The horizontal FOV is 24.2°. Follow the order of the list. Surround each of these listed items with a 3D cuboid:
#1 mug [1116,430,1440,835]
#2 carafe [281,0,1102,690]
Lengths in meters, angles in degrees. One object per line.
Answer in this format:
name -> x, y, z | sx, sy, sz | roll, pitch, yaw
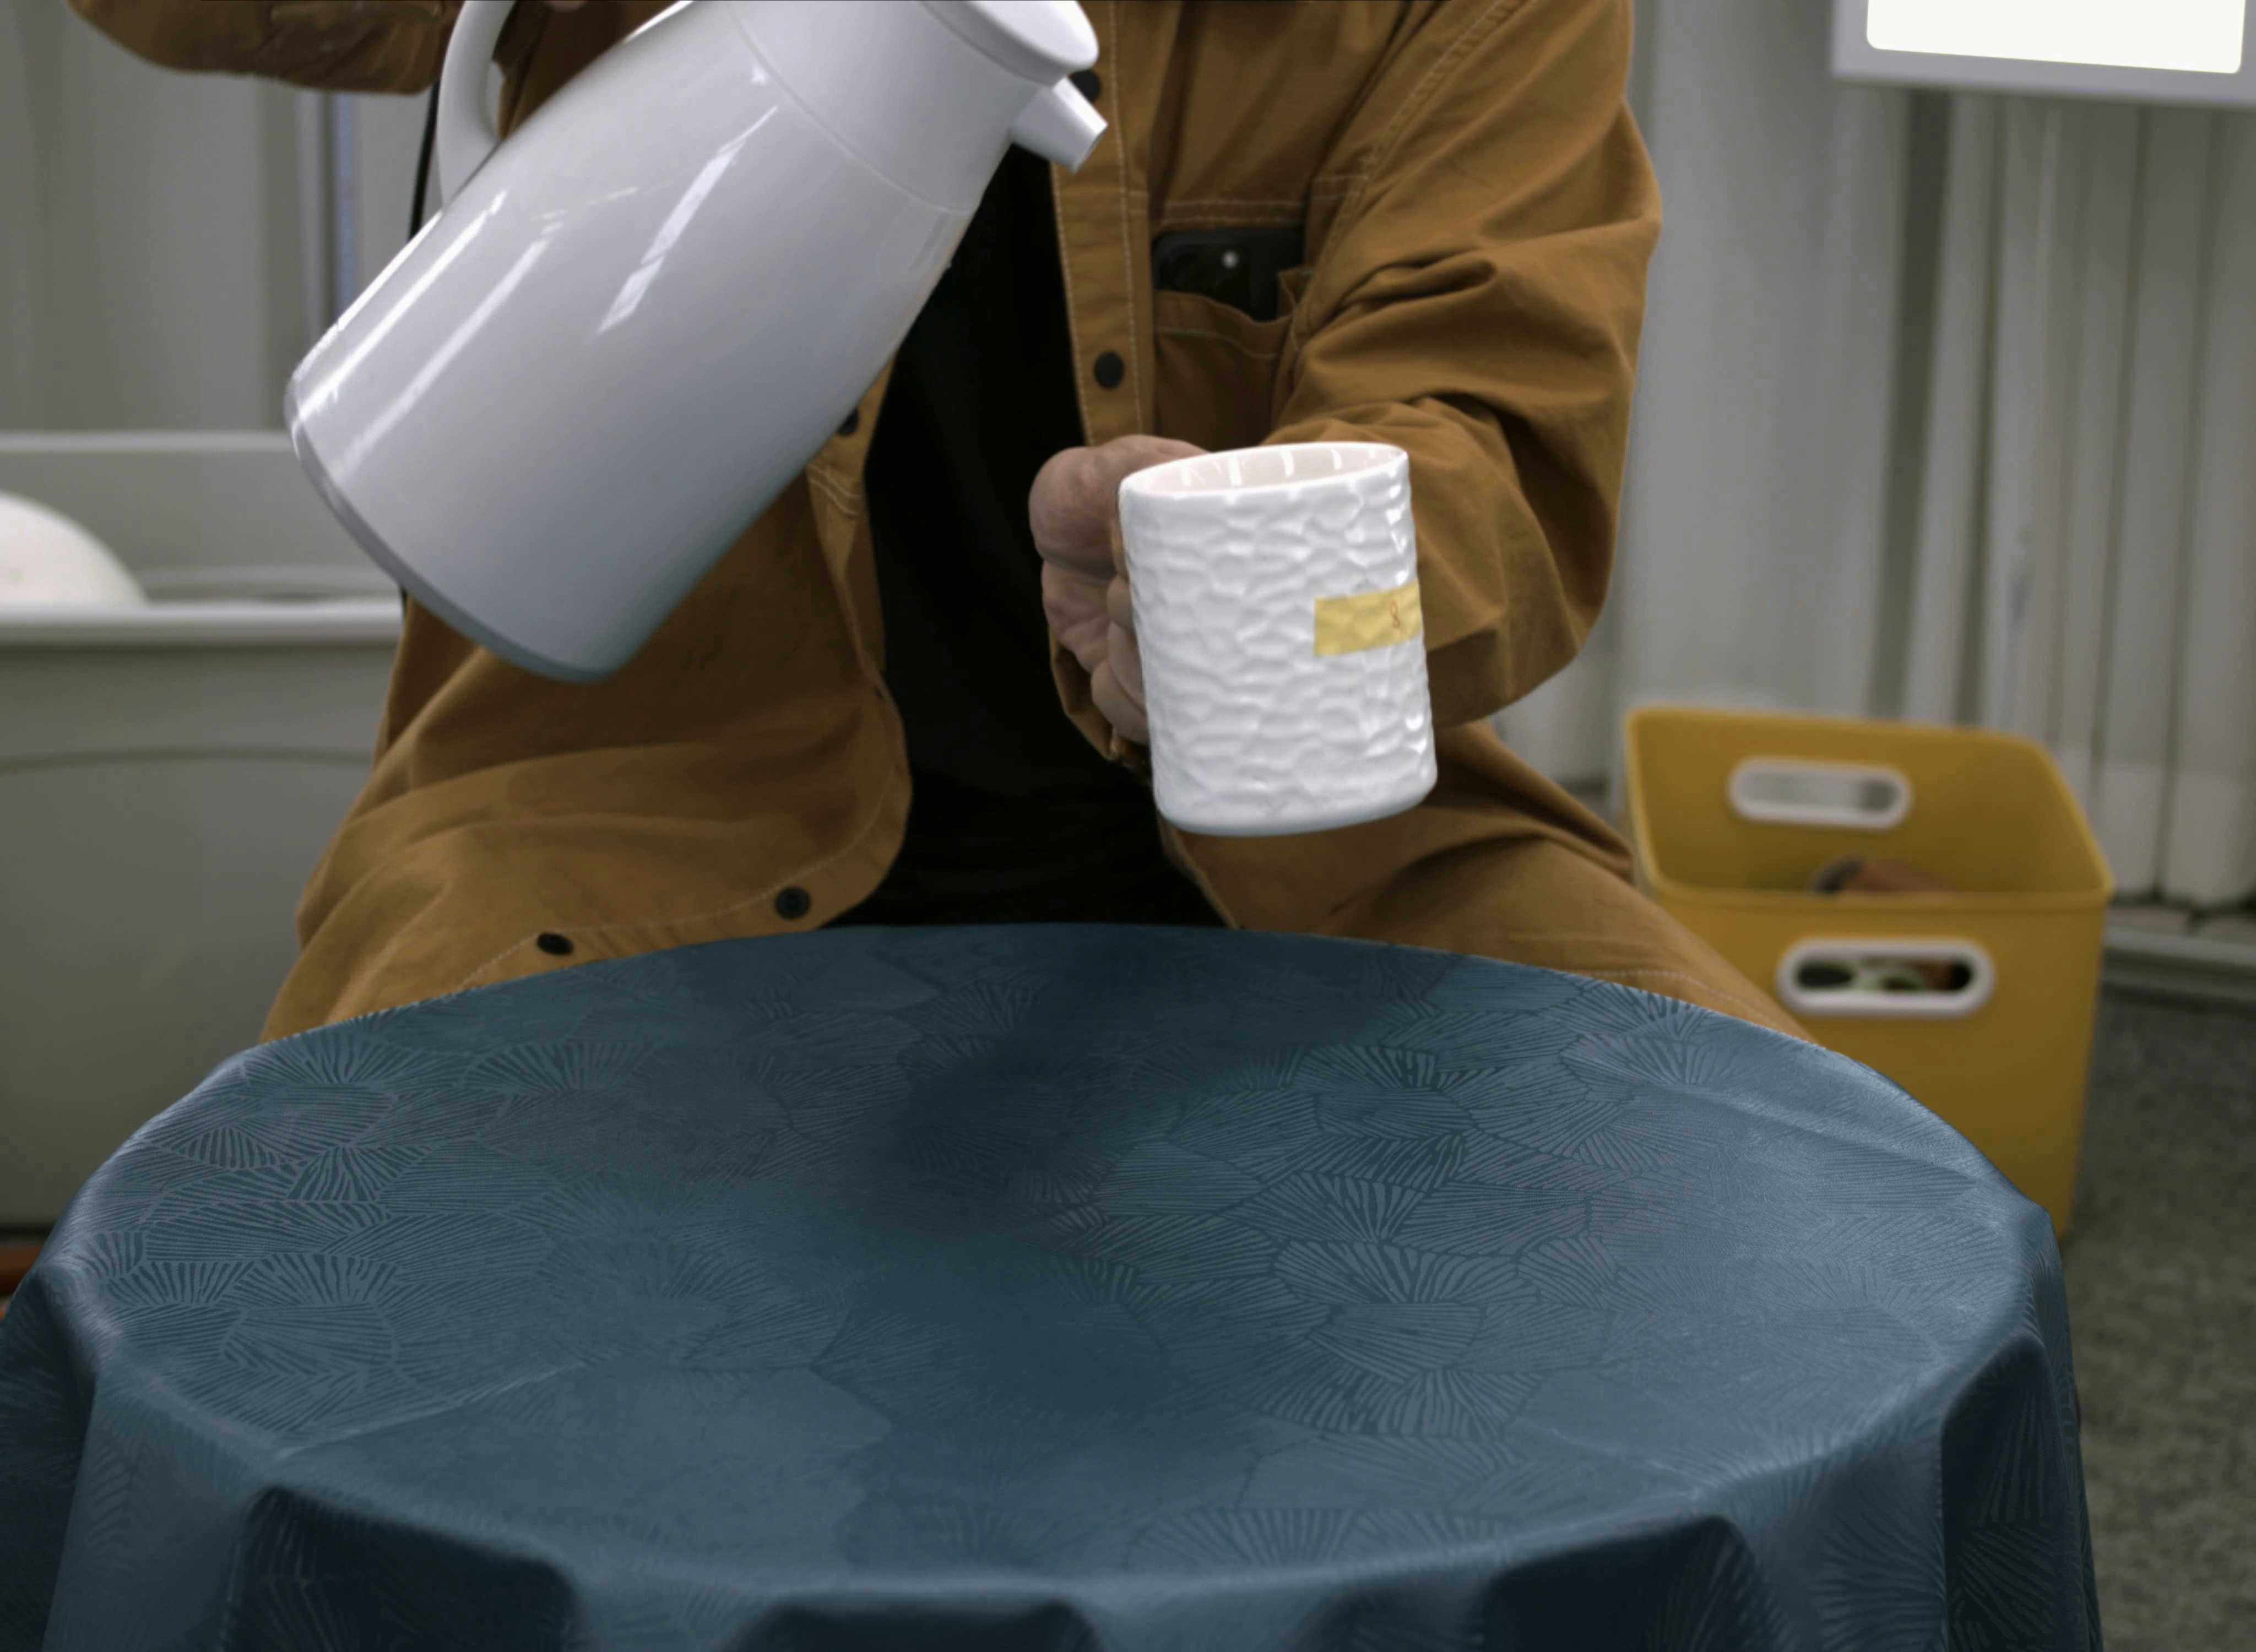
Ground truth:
mug -> 0.038, -0.059, 1.543 | 0.085, 0.103, 0.117 | -13, 16, -23
carafe -> -0.135, -0.184, 1.531 | 0.168, 0.249, 0.132 | 41, 20, -6
